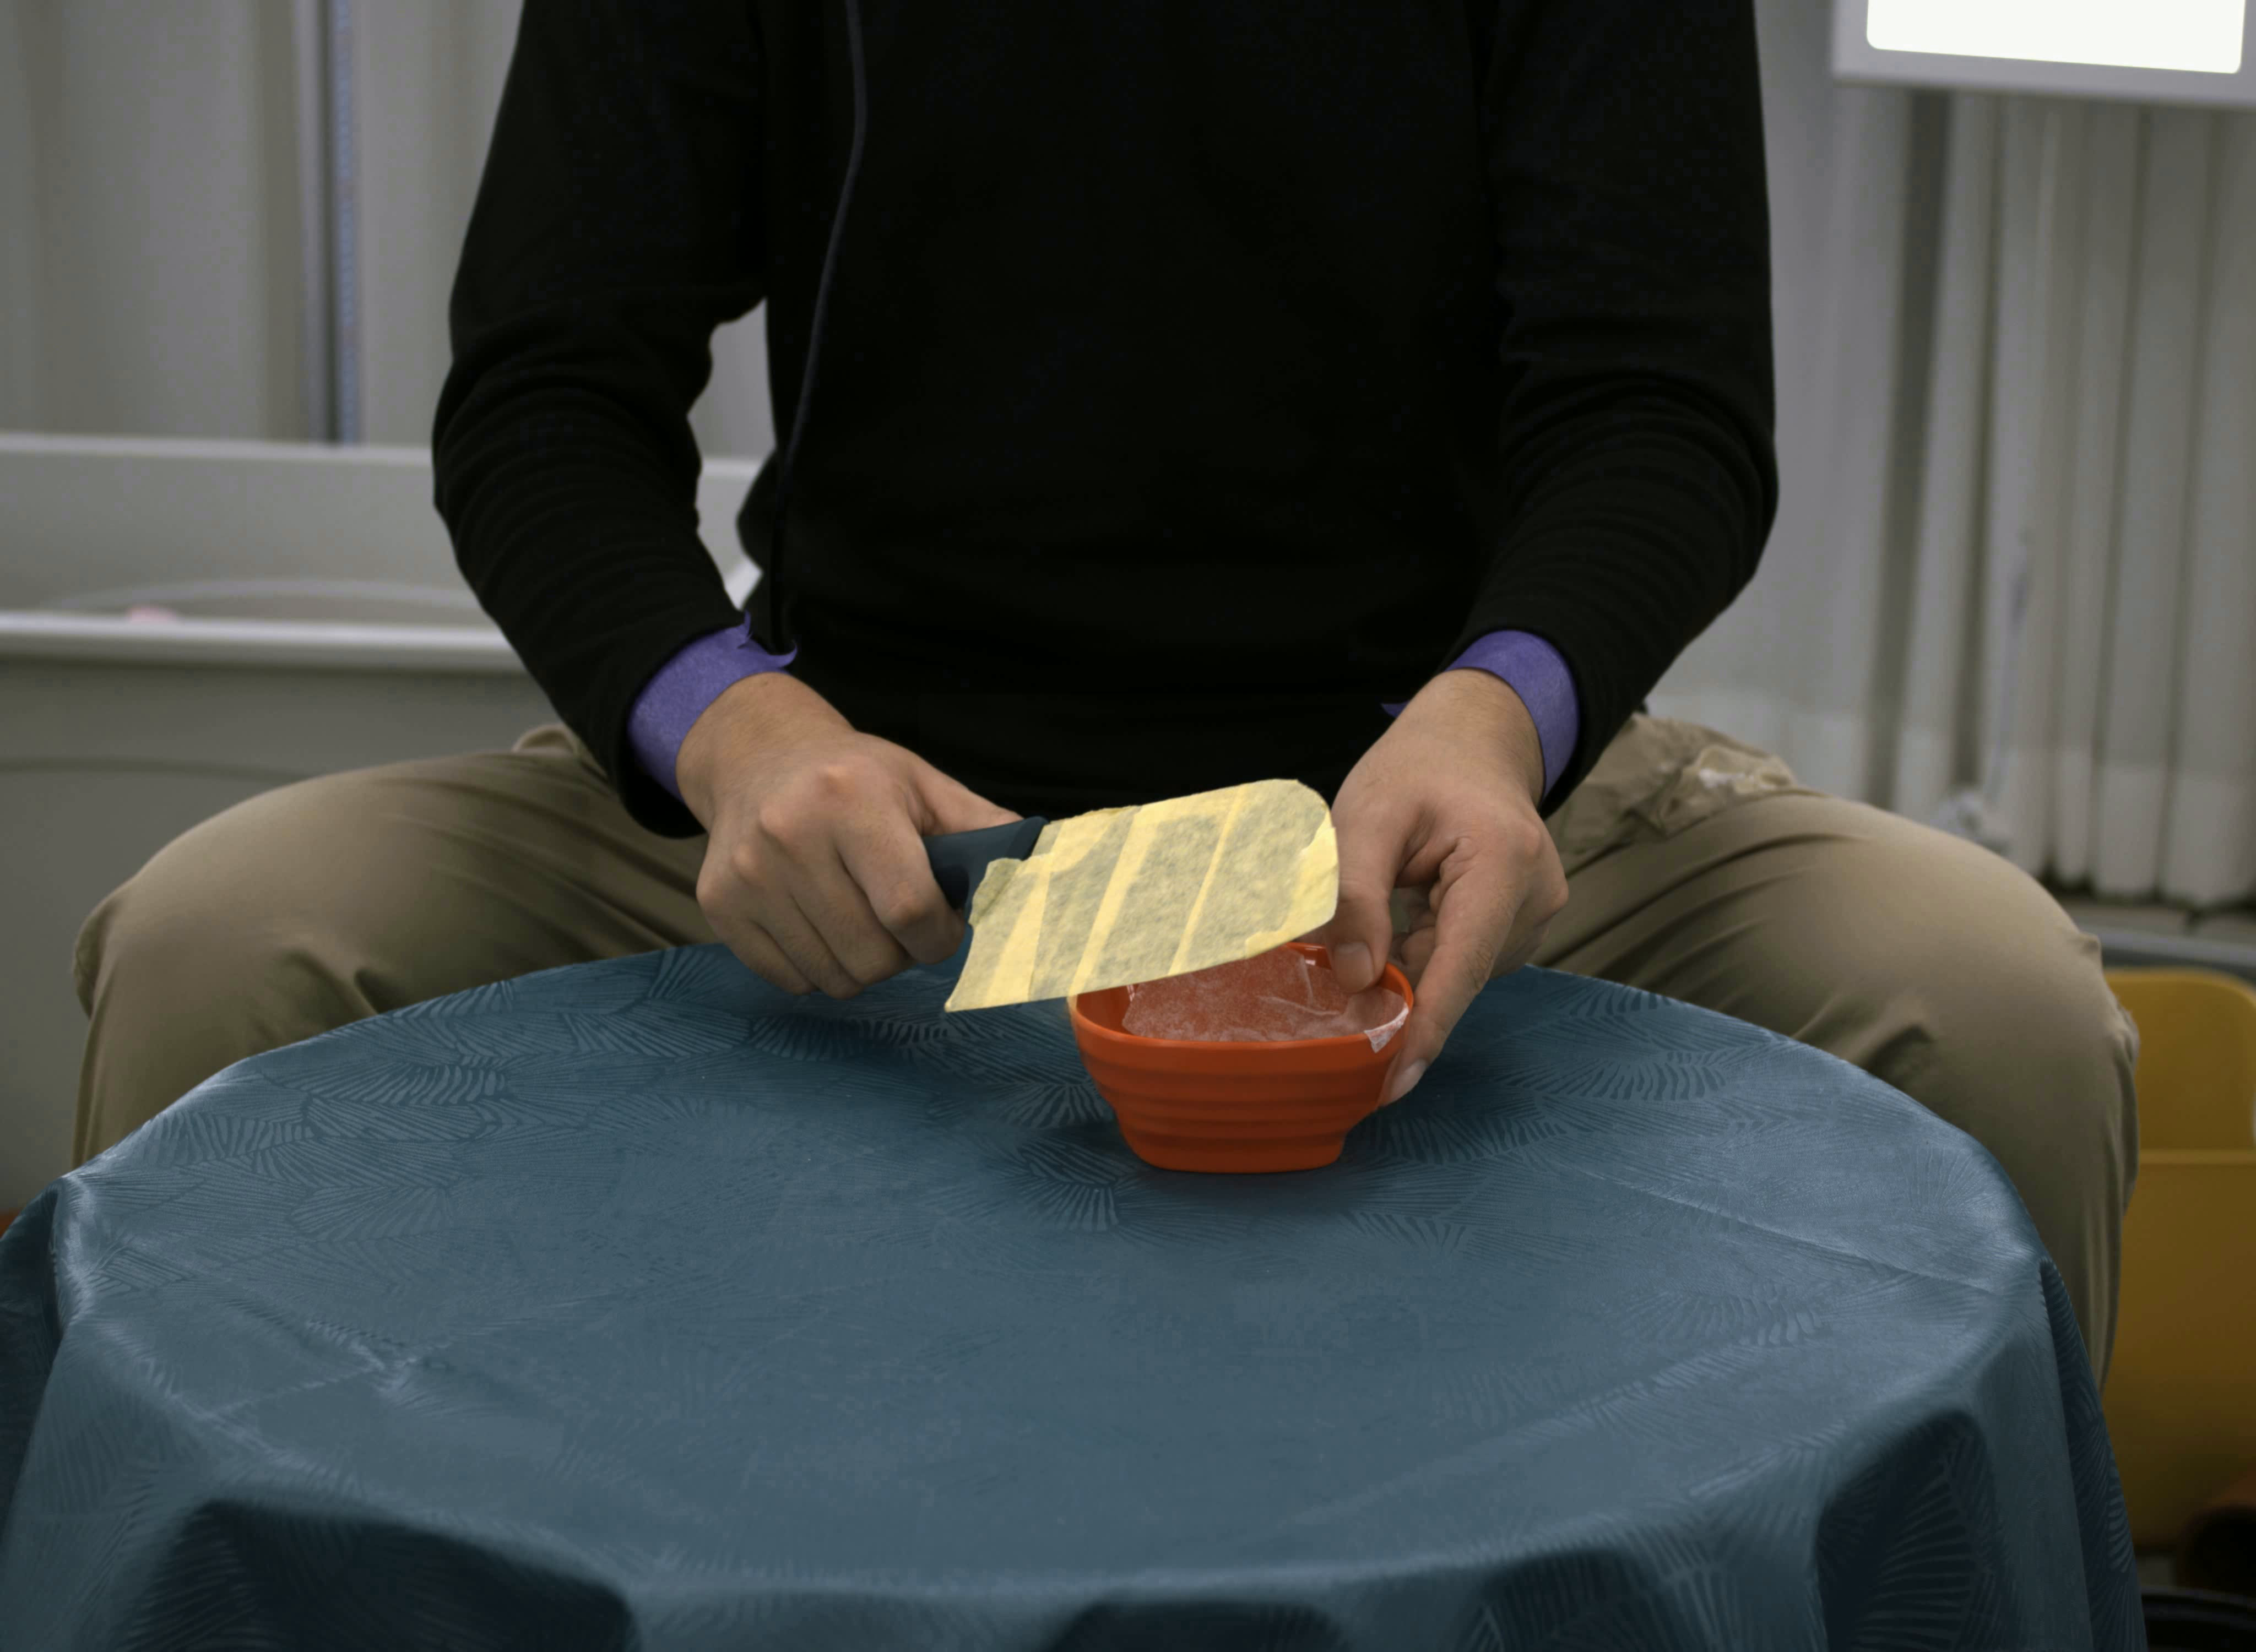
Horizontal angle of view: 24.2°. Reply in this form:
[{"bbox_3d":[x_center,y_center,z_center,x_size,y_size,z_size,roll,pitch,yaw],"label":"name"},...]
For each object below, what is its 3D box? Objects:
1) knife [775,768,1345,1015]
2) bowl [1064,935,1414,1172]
[{"bbox_3d":[-0.027,0.026,1.693,0.287,0.027,0.081,-11,46,49],"label":"knife"},{"bbox_3d":[0.035,0.074,1.663,0.118,0.052,0.118,-1,17,1],"label":"bowl"}]
